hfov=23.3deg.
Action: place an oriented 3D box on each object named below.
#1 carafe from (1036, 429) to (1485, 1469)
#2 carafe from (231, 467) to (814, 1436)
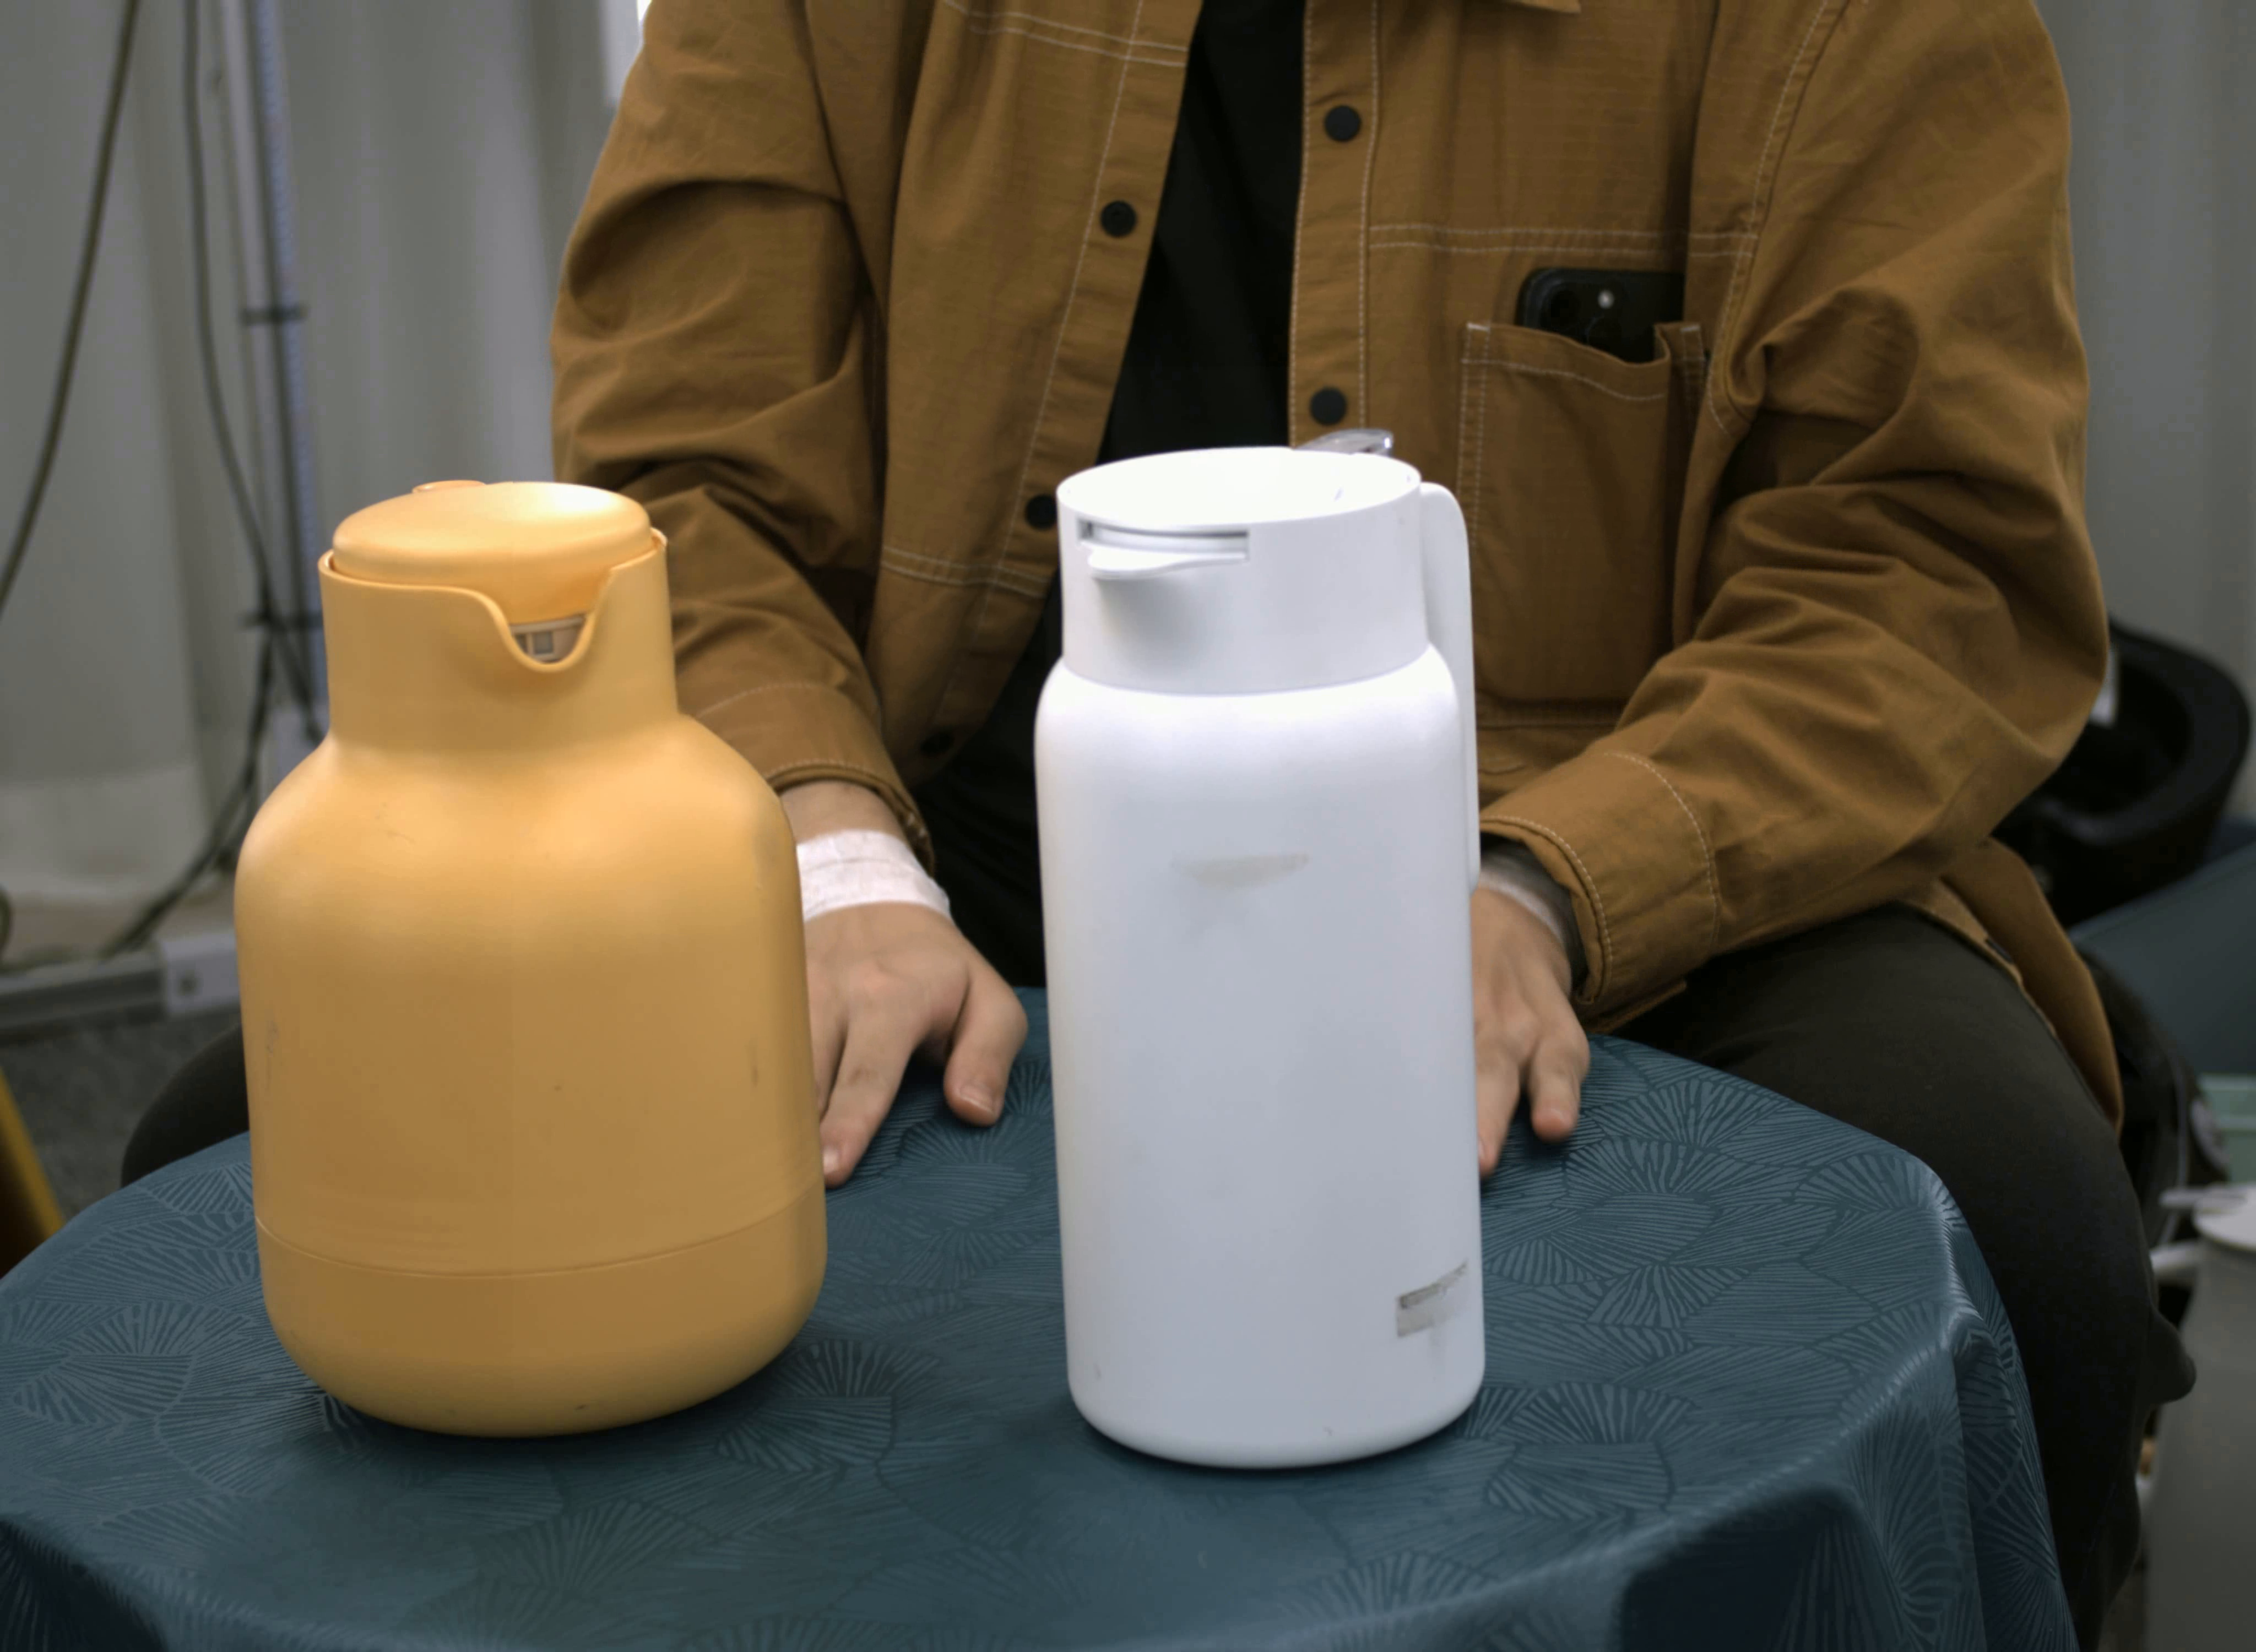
[{"bbox_3d":[0.044,0.029,1.512,0.124,0.268,0.173,3,15,31],"label":"carafe"},{"bbox_3d":[-0.177,0.027,1.572,0.162,0.259,0.204,-4,15,-15],"label":"carafe"}]
